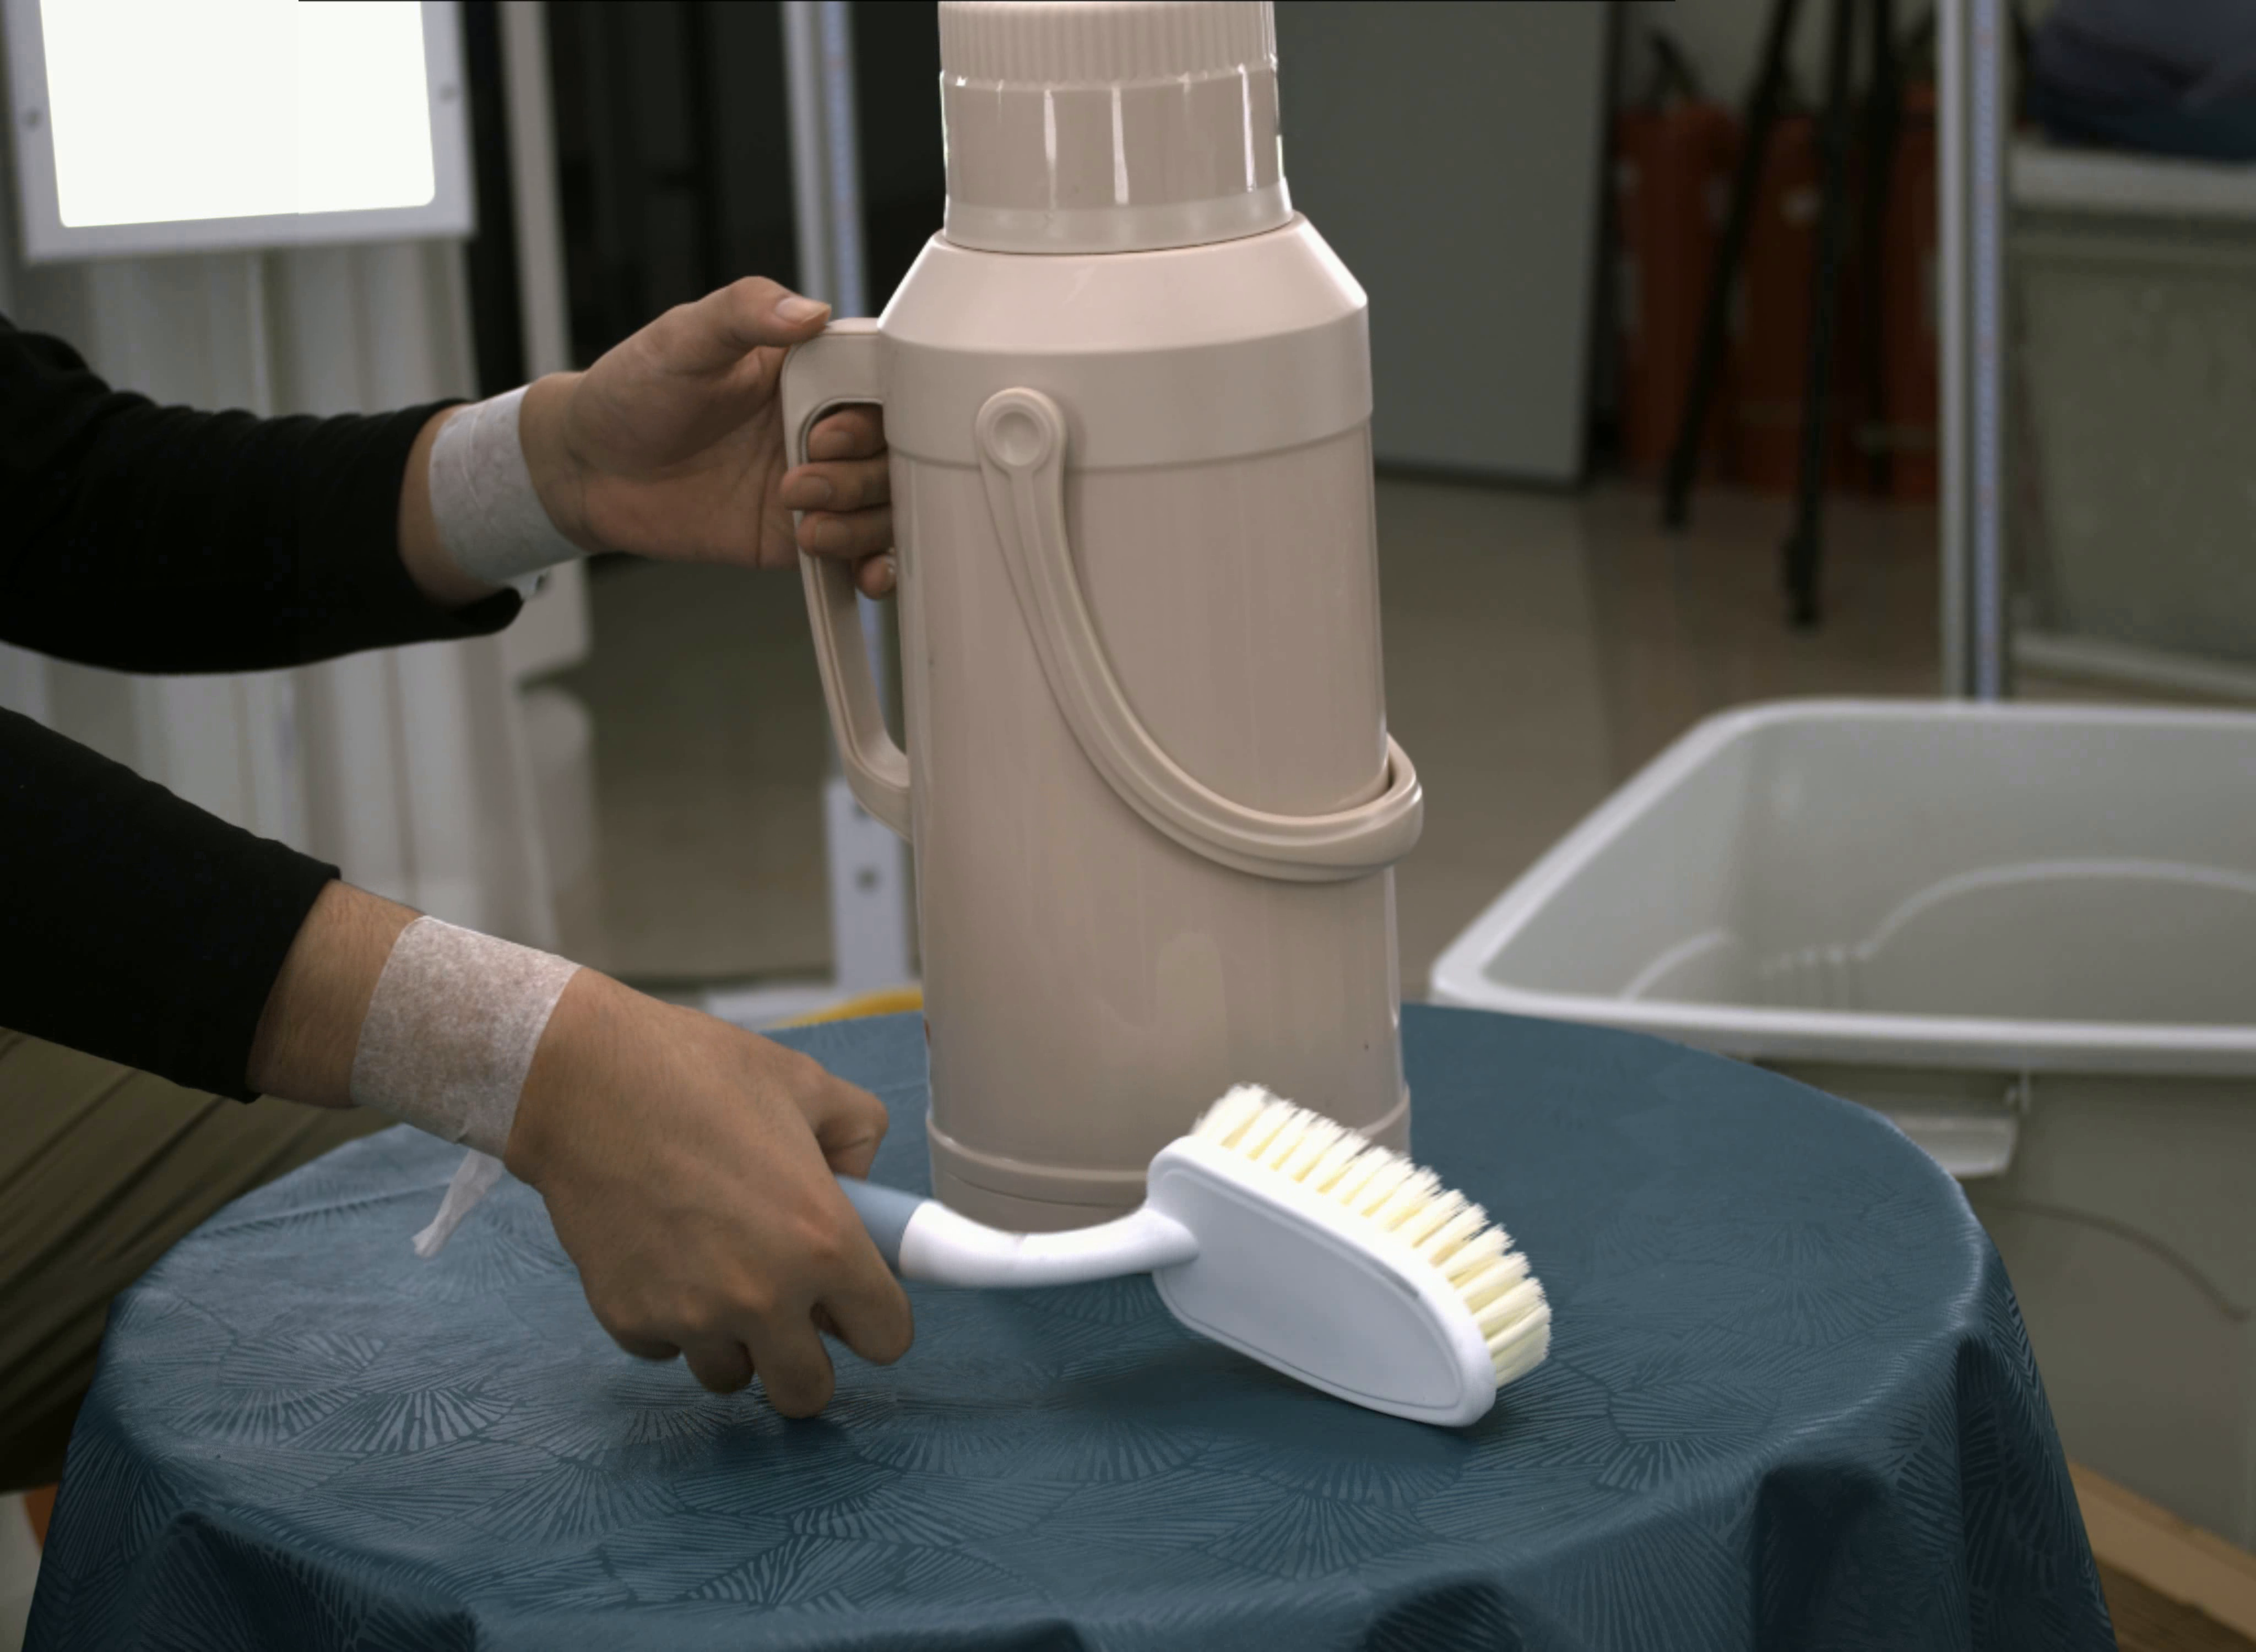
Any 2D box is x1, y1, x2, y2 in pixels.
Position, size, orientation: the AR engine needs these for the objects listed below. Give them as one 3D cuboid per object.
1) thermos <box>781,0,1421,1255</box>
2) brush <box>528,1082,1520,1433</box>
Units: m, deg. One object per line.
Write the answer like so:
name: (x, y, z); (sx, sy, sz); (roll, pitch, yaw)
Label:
thermos: (-0.009, -0.074, 1.727); (0.207, 0.410, 0.173); (2, 16, 23)
brush: (-0.029, 0.104, 1.600); (0.326, 0.084, 0.083); (14, 2, 26)
